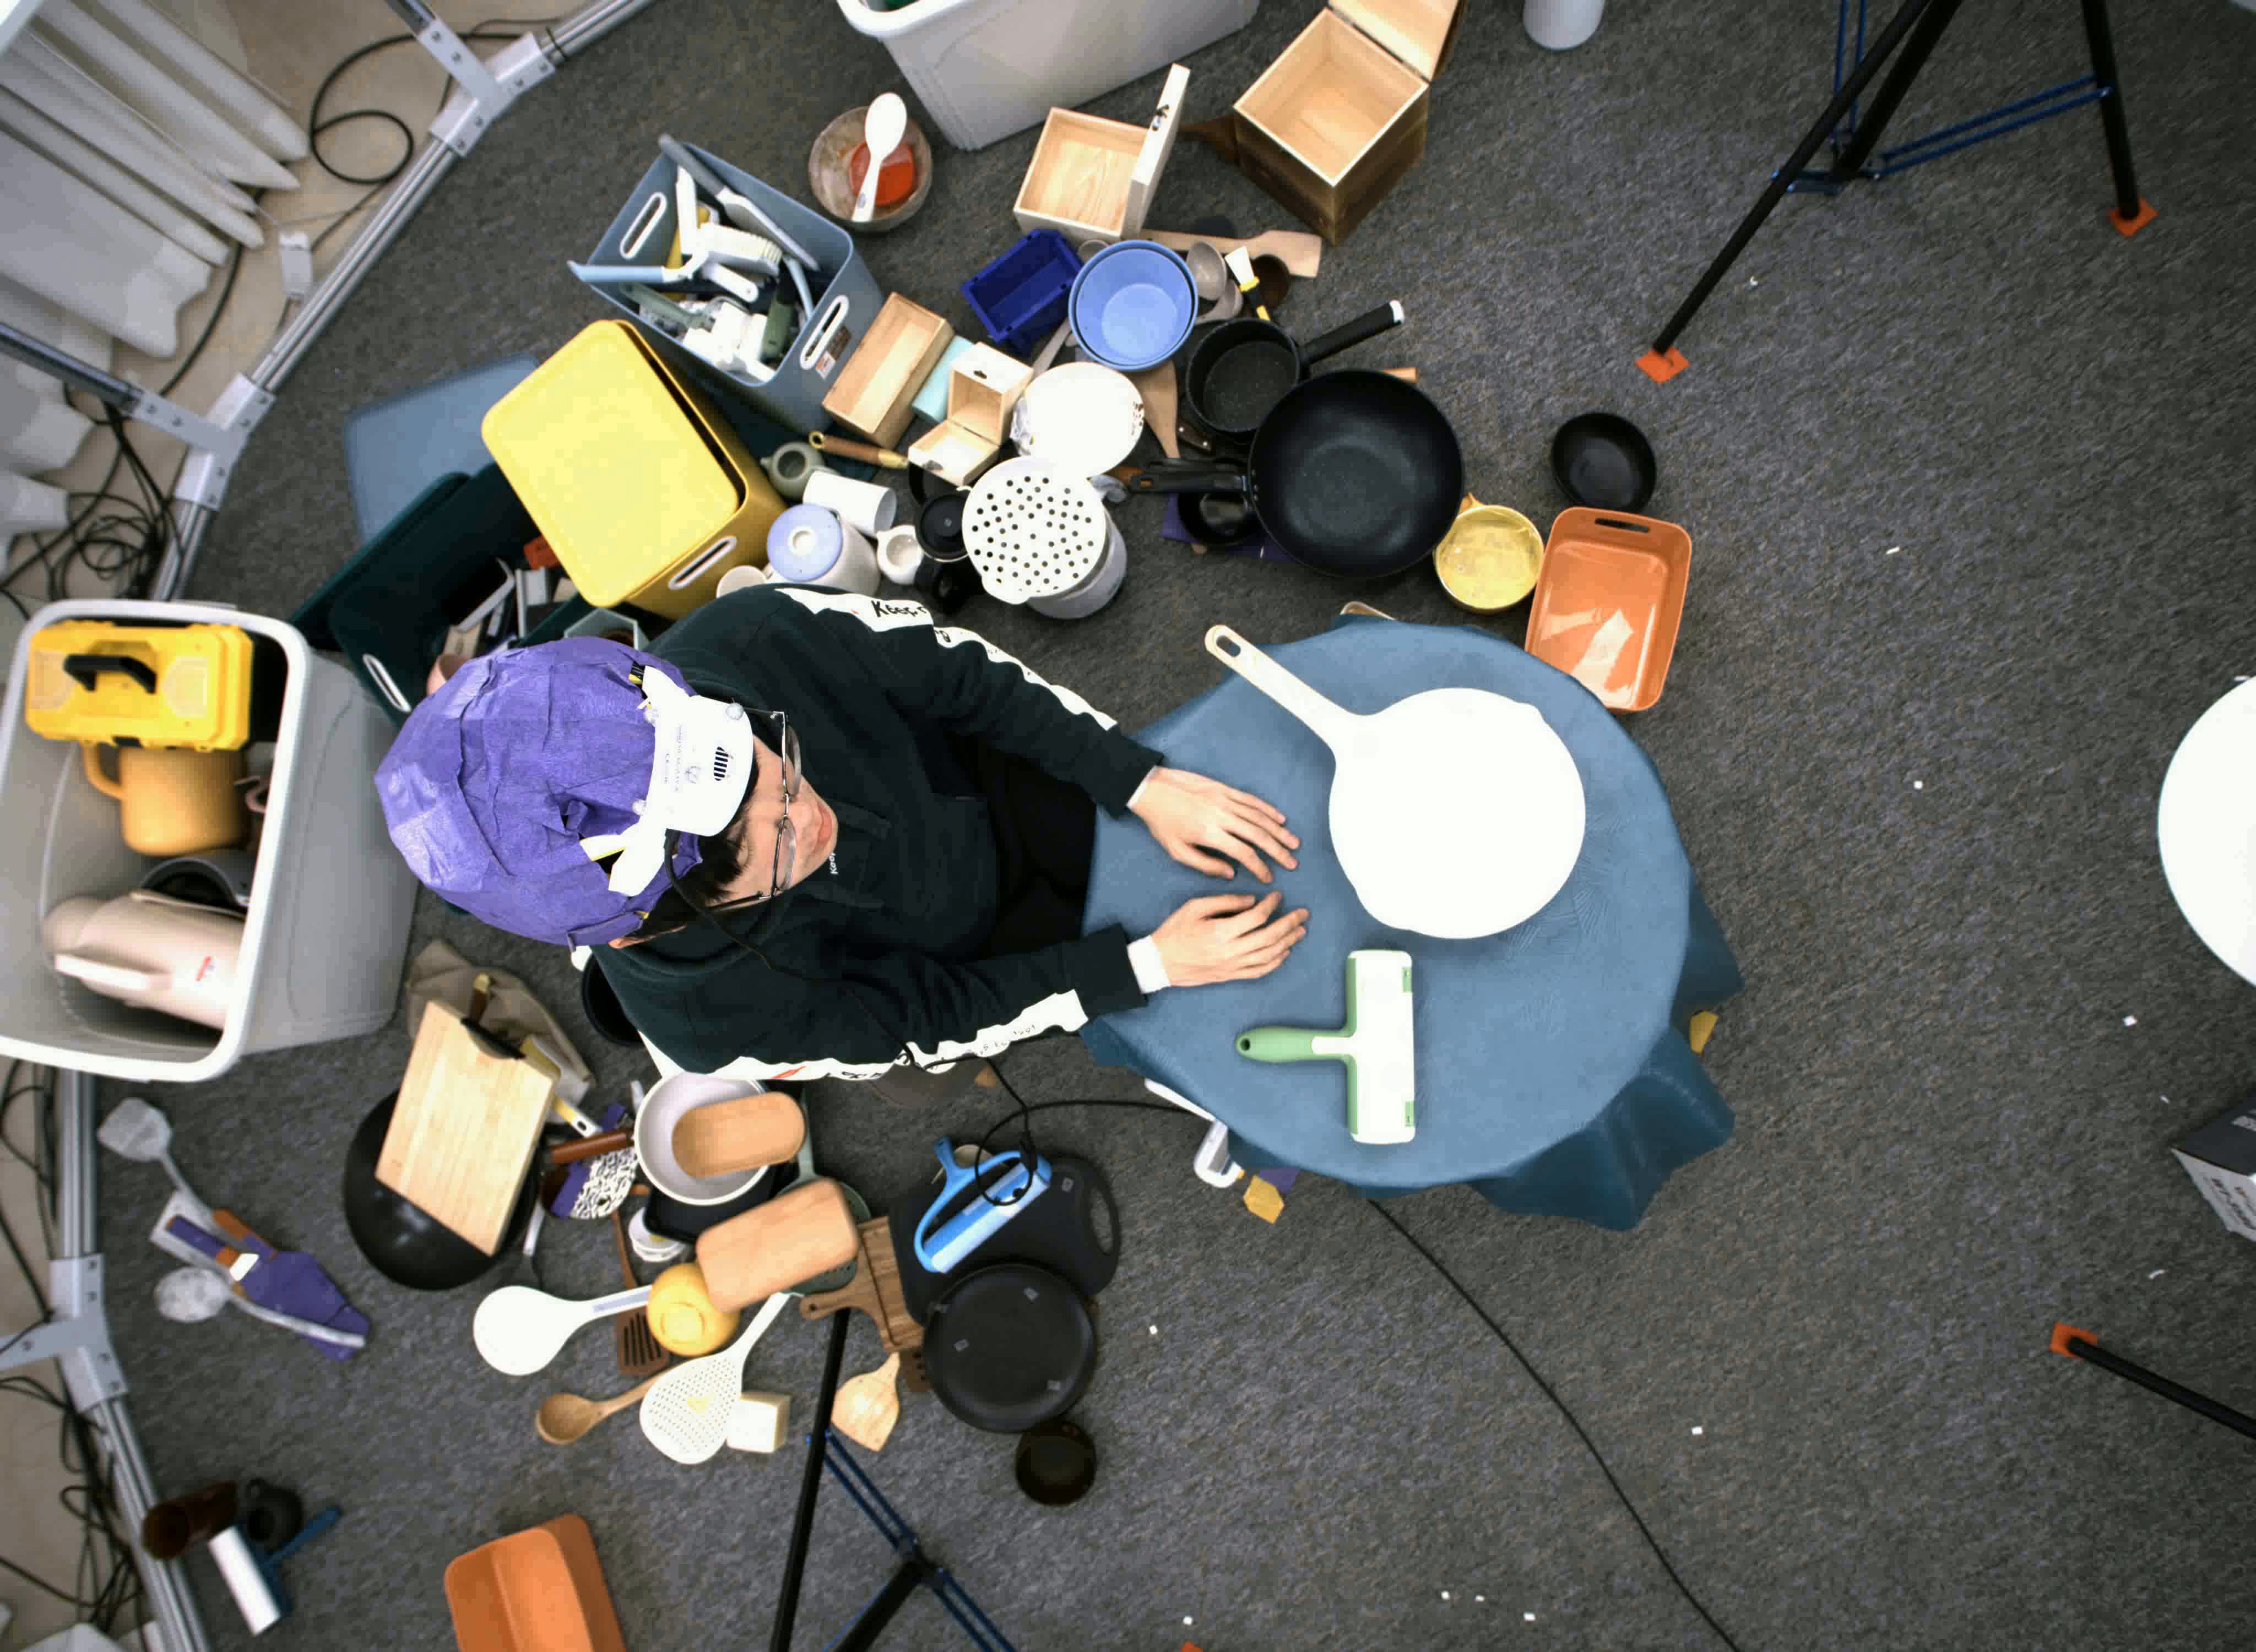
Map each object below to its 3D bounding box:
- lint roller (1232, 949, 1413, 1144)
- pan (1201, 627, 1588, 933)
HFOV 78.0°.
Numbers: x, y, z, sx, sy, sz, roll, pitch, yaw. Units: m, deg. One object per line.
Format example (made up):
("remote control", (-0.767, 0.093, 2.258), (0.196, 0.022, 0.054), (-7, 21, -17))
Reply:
("lint roller", (0.199, 0.224, 1.422), (0.184, 0.082, 0.198), (0, 87, 4))
("pan", (0.261, -0.071, 1.414), (0.433, 0.102, 0.264), (36, 95, 10))
